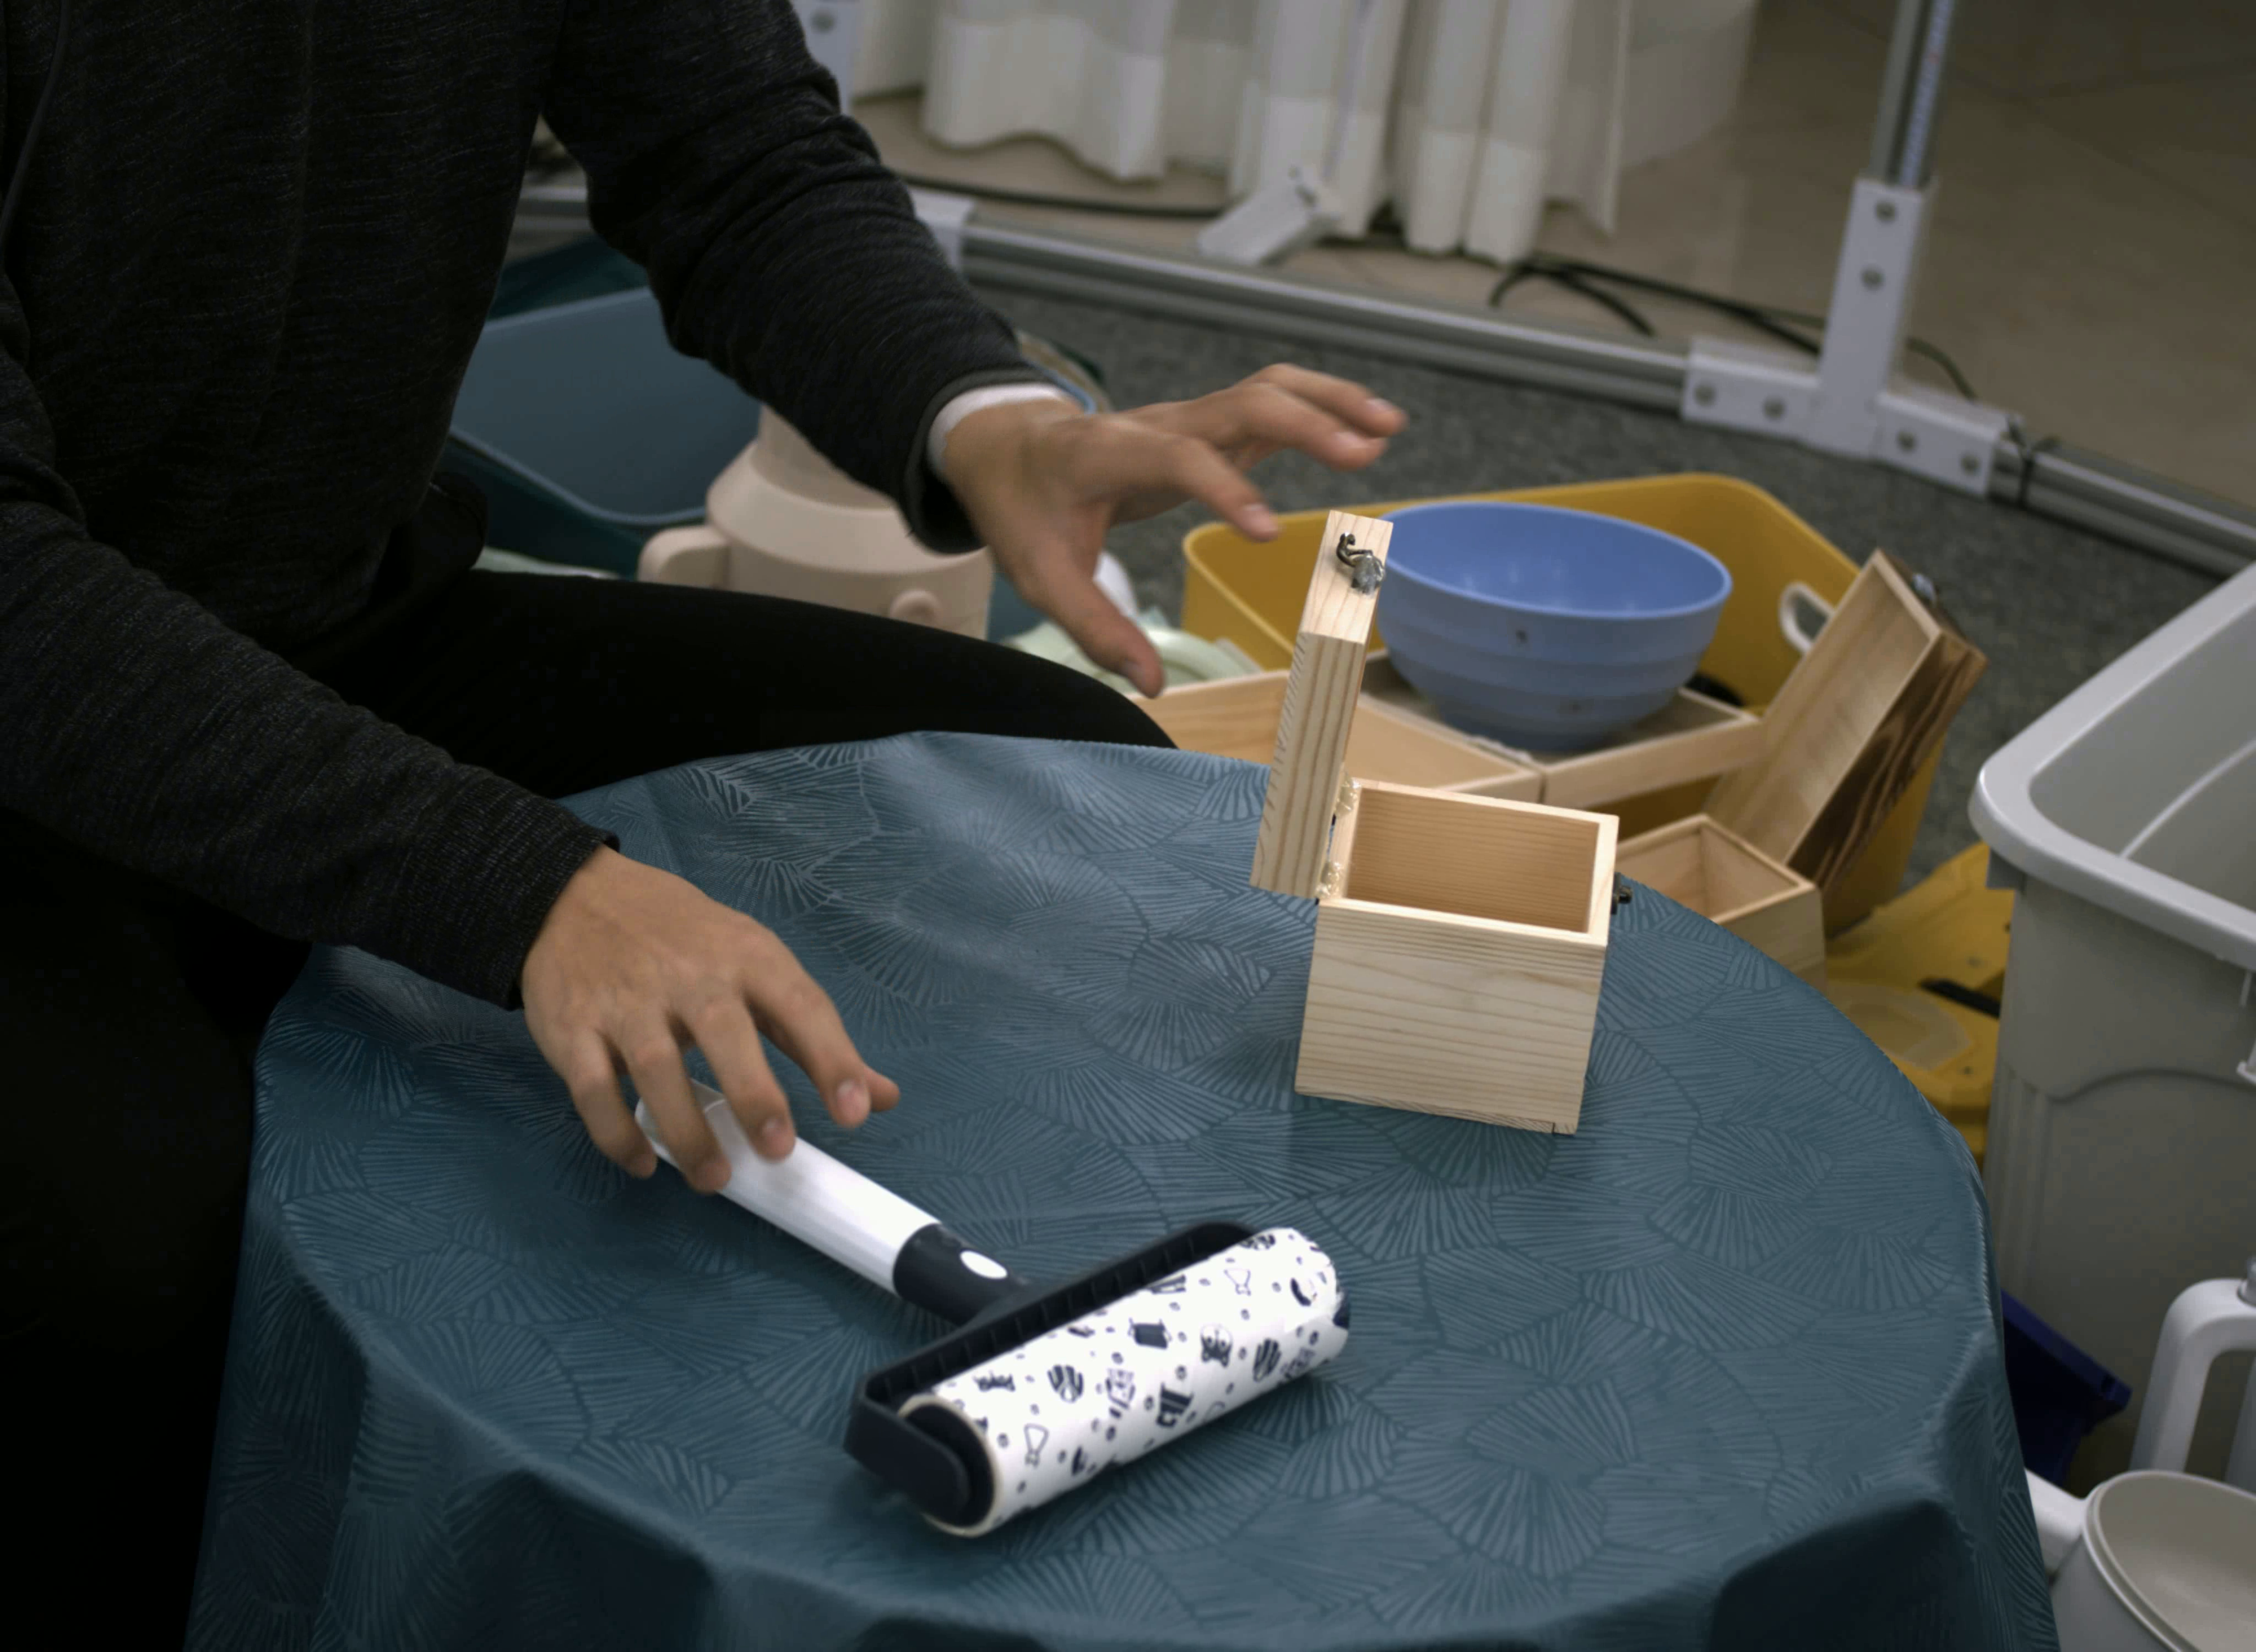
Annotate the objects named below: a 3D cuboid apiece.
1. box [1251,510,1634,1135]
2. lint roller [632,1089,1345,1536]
[{"bbox_3d":[0.115,-0.002,1.873,0.134,0.184,0.103,8,26,4],"label":"box"},{"bbox_3d":[-0.074,0.135,1.716,0.249,0.050,0.175,27,34,36],"label":"lint roller"}]
